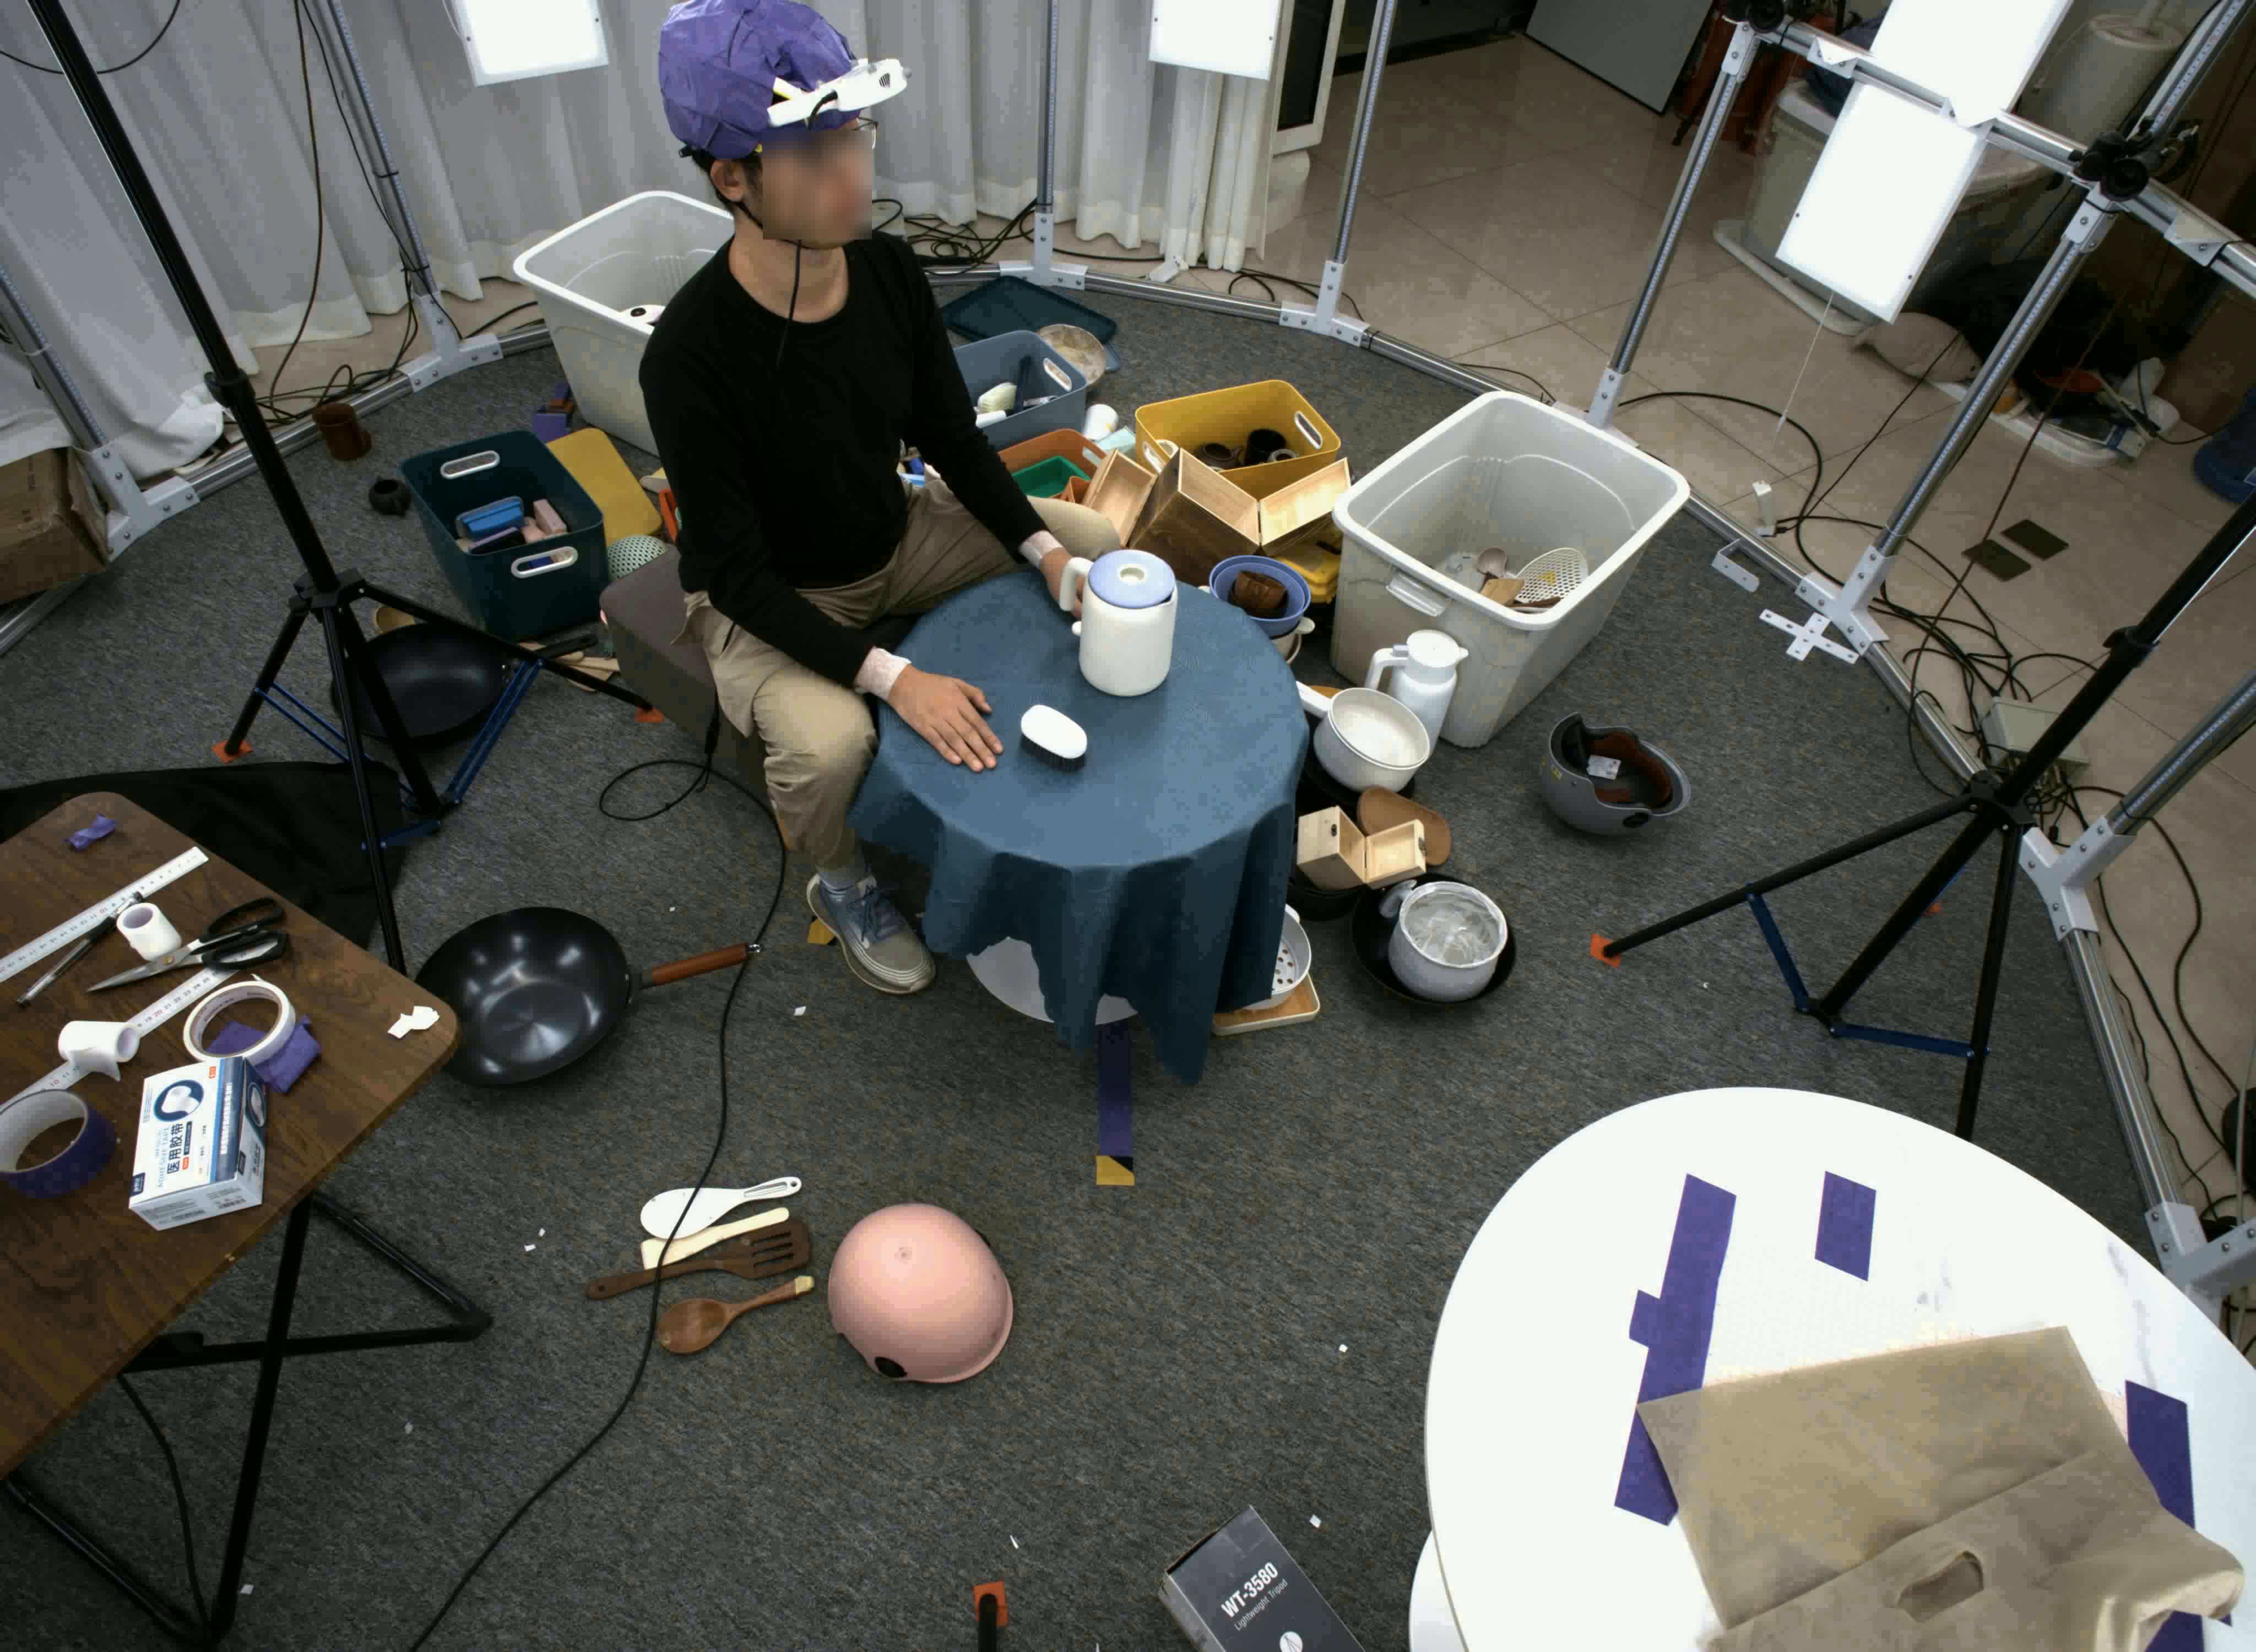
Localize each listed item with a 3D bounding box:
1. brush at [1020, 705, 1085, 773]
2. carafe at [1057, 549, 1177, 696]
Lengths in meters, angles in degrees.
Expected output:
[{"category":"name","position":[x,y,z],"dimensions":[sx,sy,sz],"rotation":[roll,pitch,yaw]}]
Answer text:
[{"category":"brush","position":[-0.101,-0.125,1.724],"dimensions":[0.100,0.071,0.051],"rotation":[31,54,21]},{"category":"carafe","position":[-0.020,-0.297,1.816],"dimensions":[0.193,0.178,0.134],"rotation":[29,53,22]}]
